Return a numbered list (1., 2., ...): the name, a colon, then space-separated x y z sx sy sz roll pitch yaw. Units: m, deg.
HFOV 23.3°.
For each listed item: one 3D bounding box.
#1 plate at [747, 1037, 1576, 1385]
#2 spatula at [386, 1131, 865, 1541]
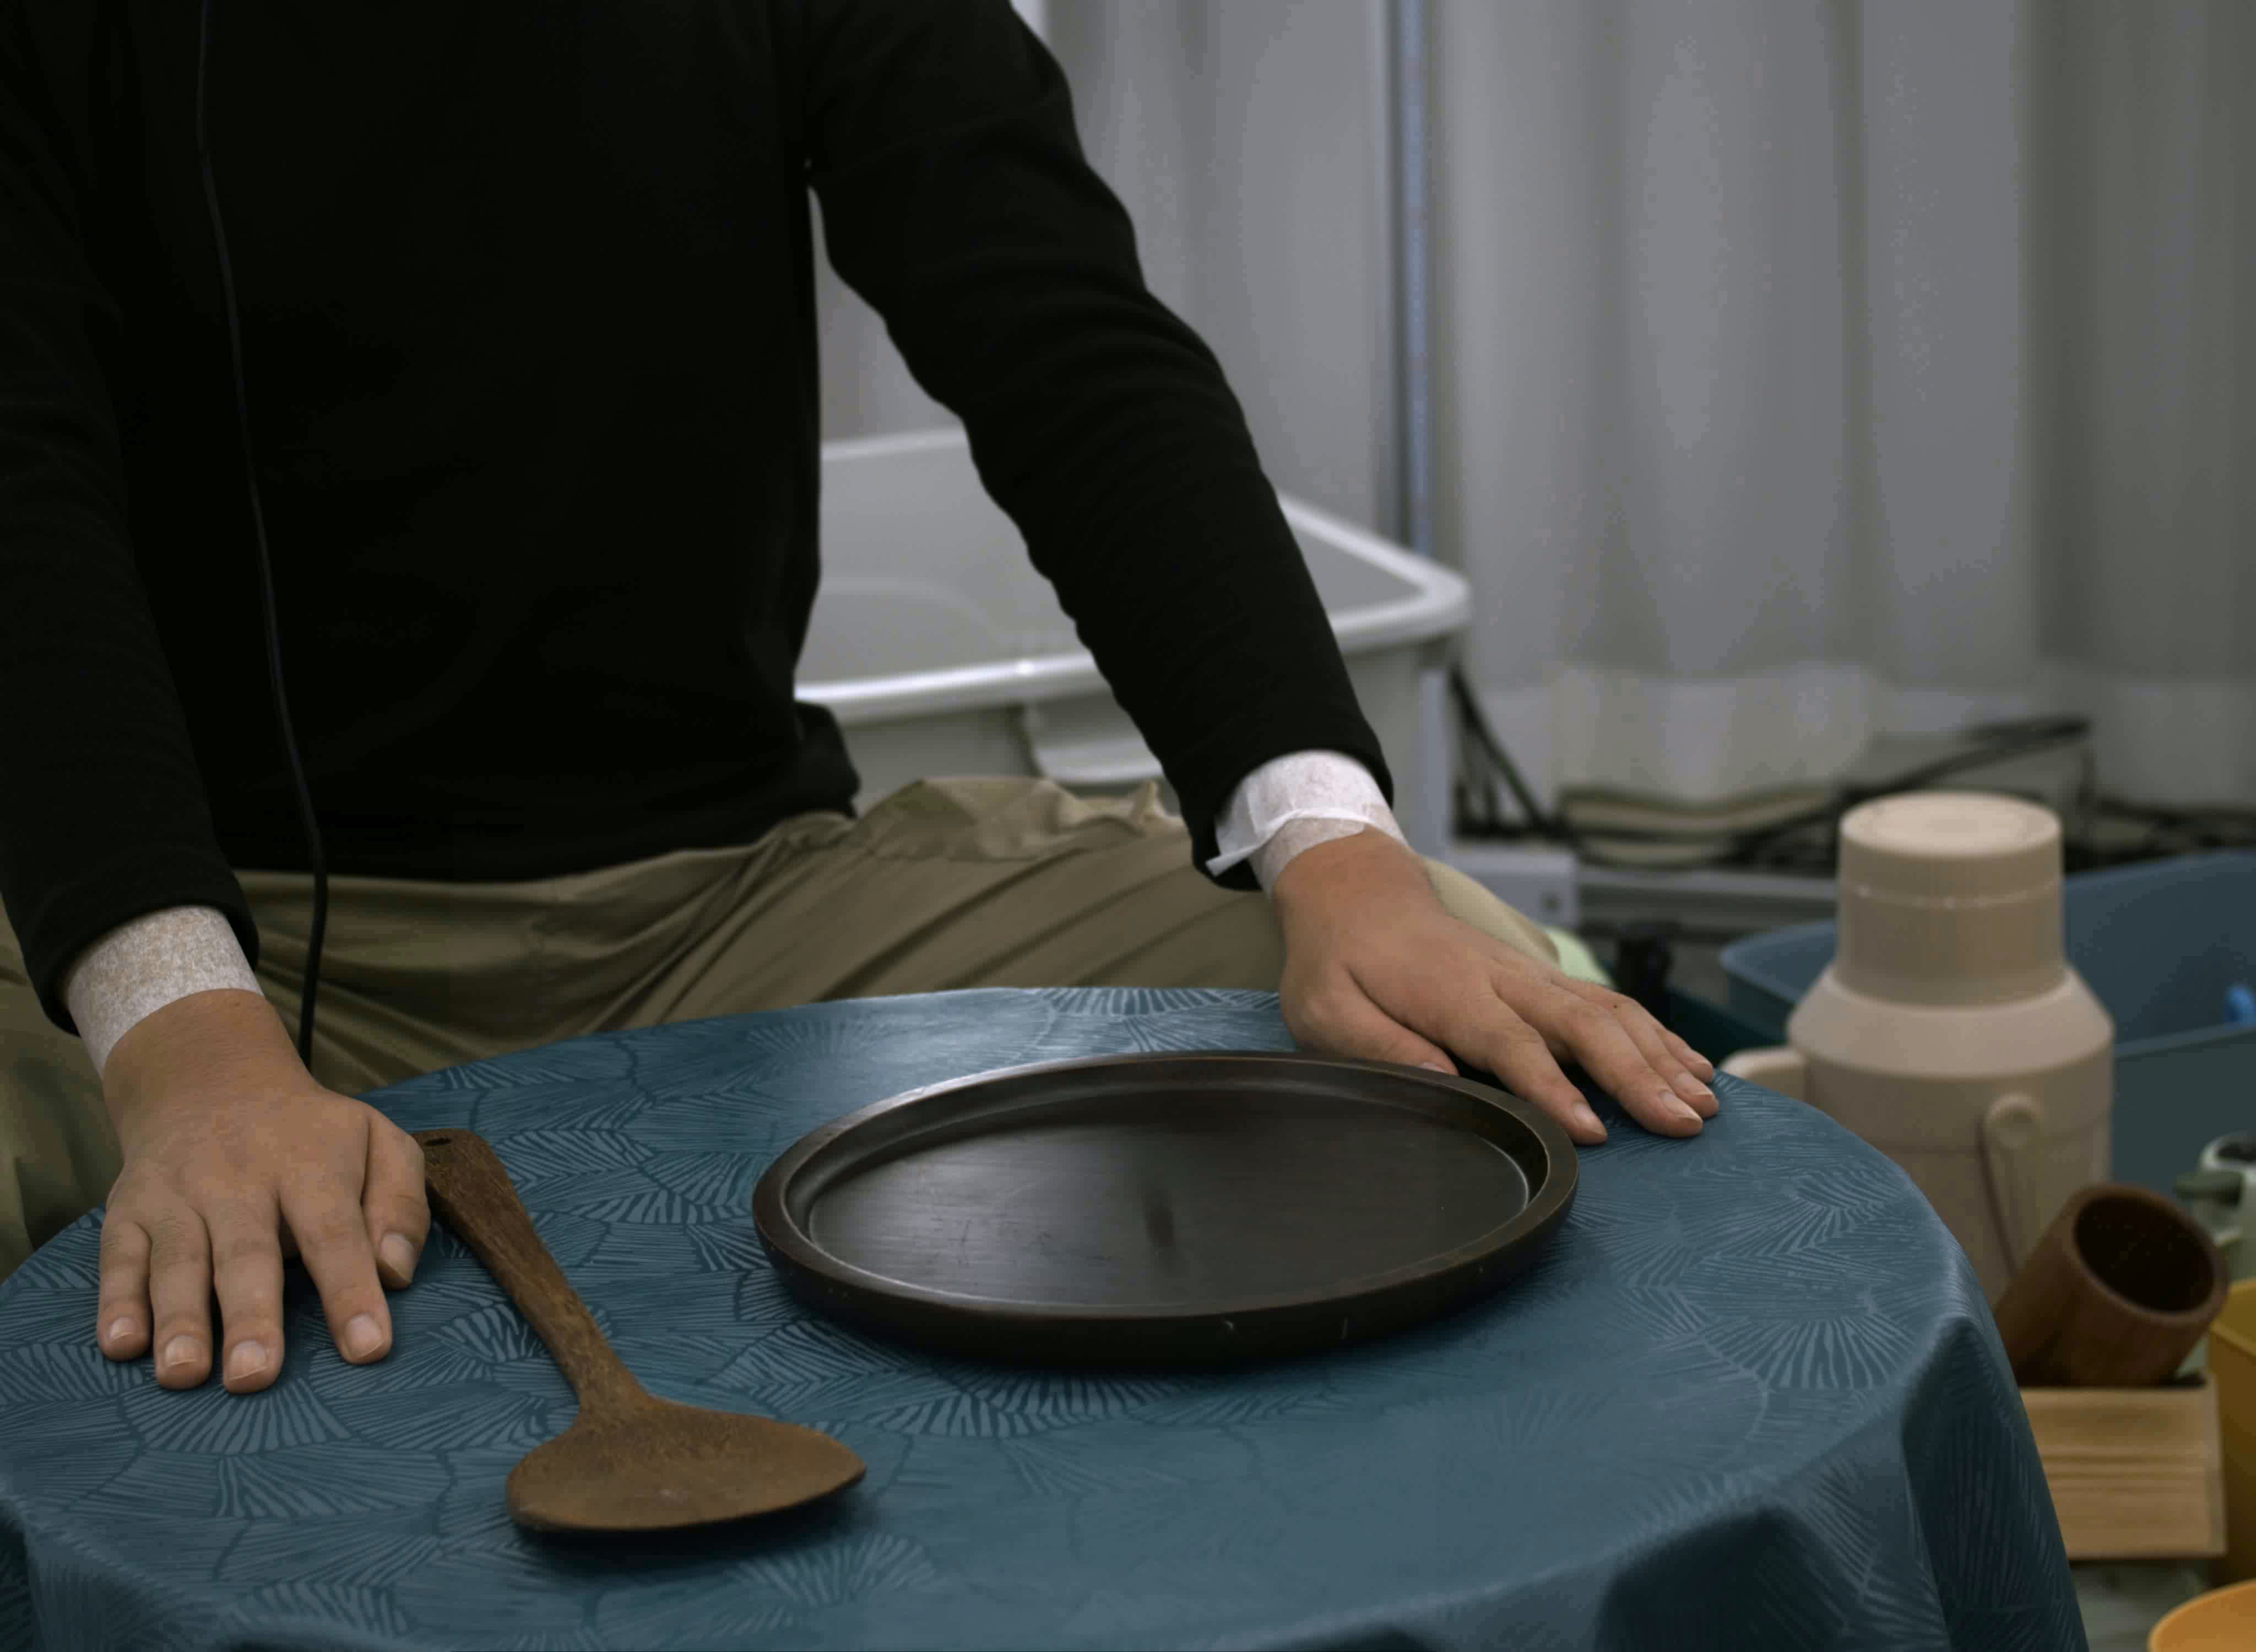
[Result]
1. plate: 0.011 0.116 1.665 0.254 0.029 0.256 -3 16 1
2. spatula: -0.170 0.143 1.611 0.095 0.016 0.389 -7 15 -17
